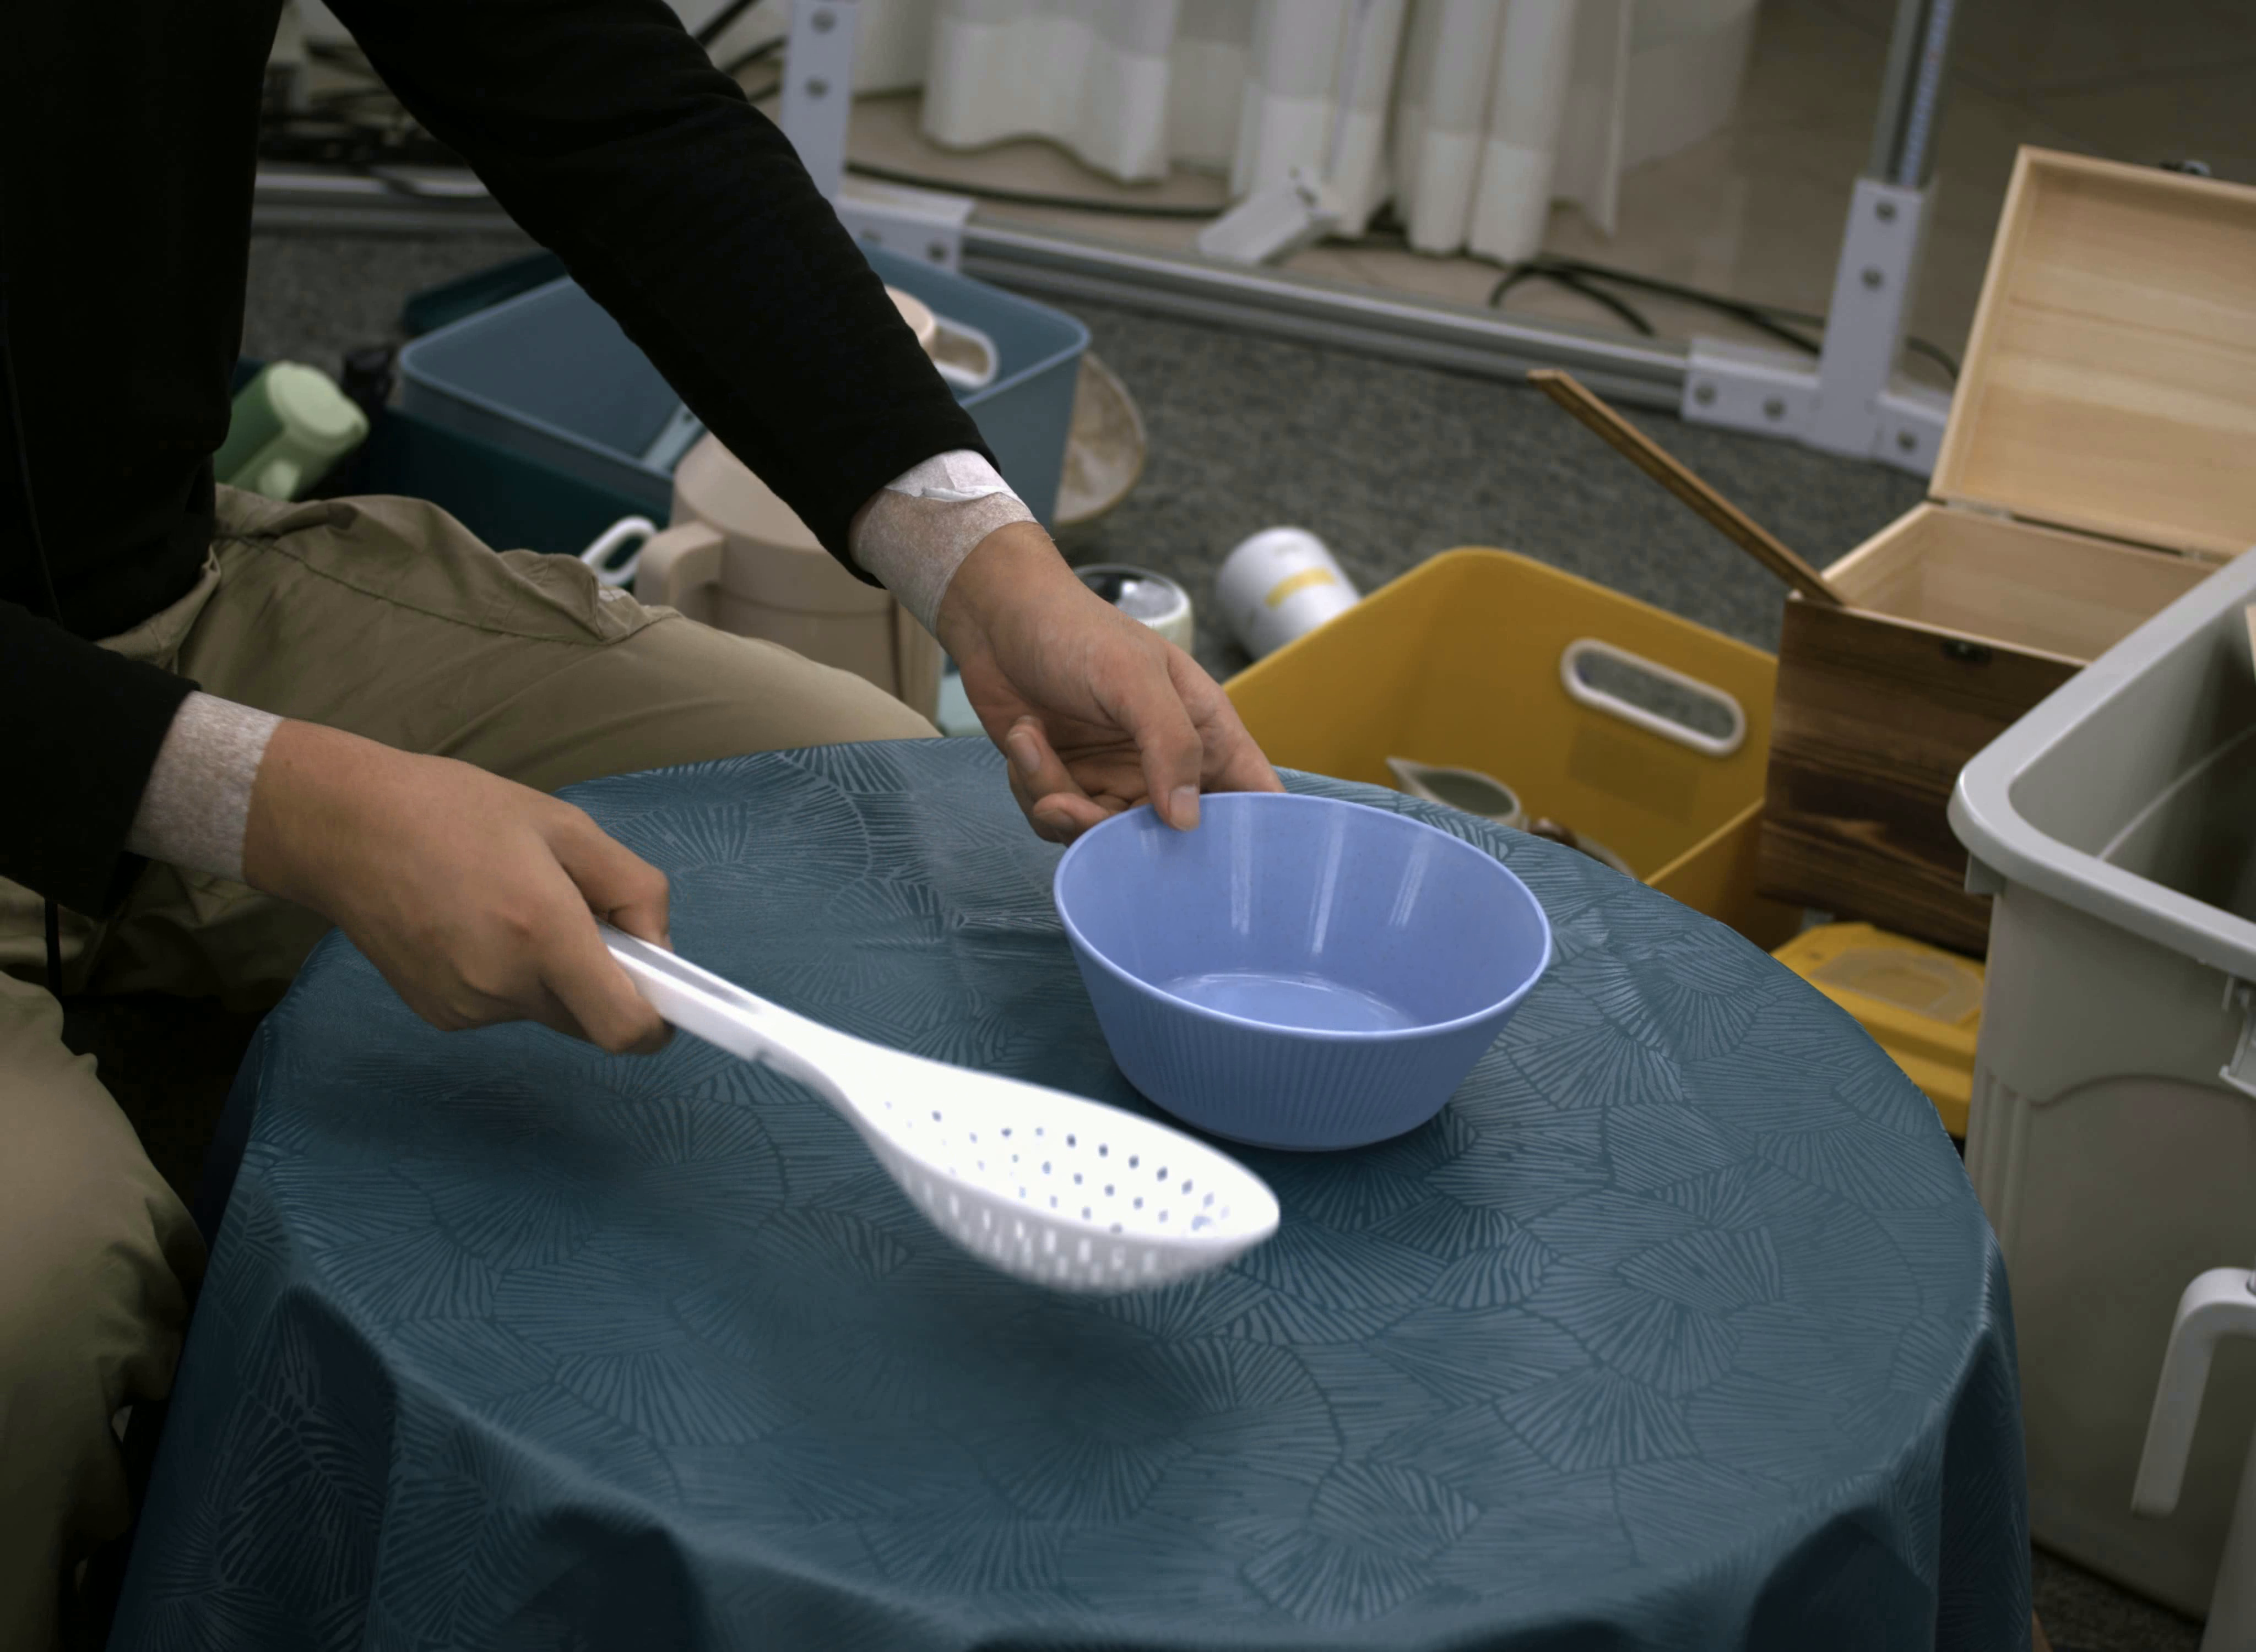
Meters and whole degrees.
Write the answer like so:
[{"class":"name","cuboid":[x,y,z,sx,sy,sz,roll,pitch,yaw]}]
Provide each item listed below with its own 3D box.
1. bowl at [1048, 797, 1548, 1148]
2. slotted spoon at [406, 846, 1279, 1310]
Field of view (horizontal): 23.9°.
[{"class":"bowl","cuboid":[0.057,0.057,1.869,0.175,0.070,0.177,4,26,-2]},{"class":"slotted spoon","cuboid":[-0.104,0.077,1.731,0.352,0.046,0.135,30,19,29]}]
